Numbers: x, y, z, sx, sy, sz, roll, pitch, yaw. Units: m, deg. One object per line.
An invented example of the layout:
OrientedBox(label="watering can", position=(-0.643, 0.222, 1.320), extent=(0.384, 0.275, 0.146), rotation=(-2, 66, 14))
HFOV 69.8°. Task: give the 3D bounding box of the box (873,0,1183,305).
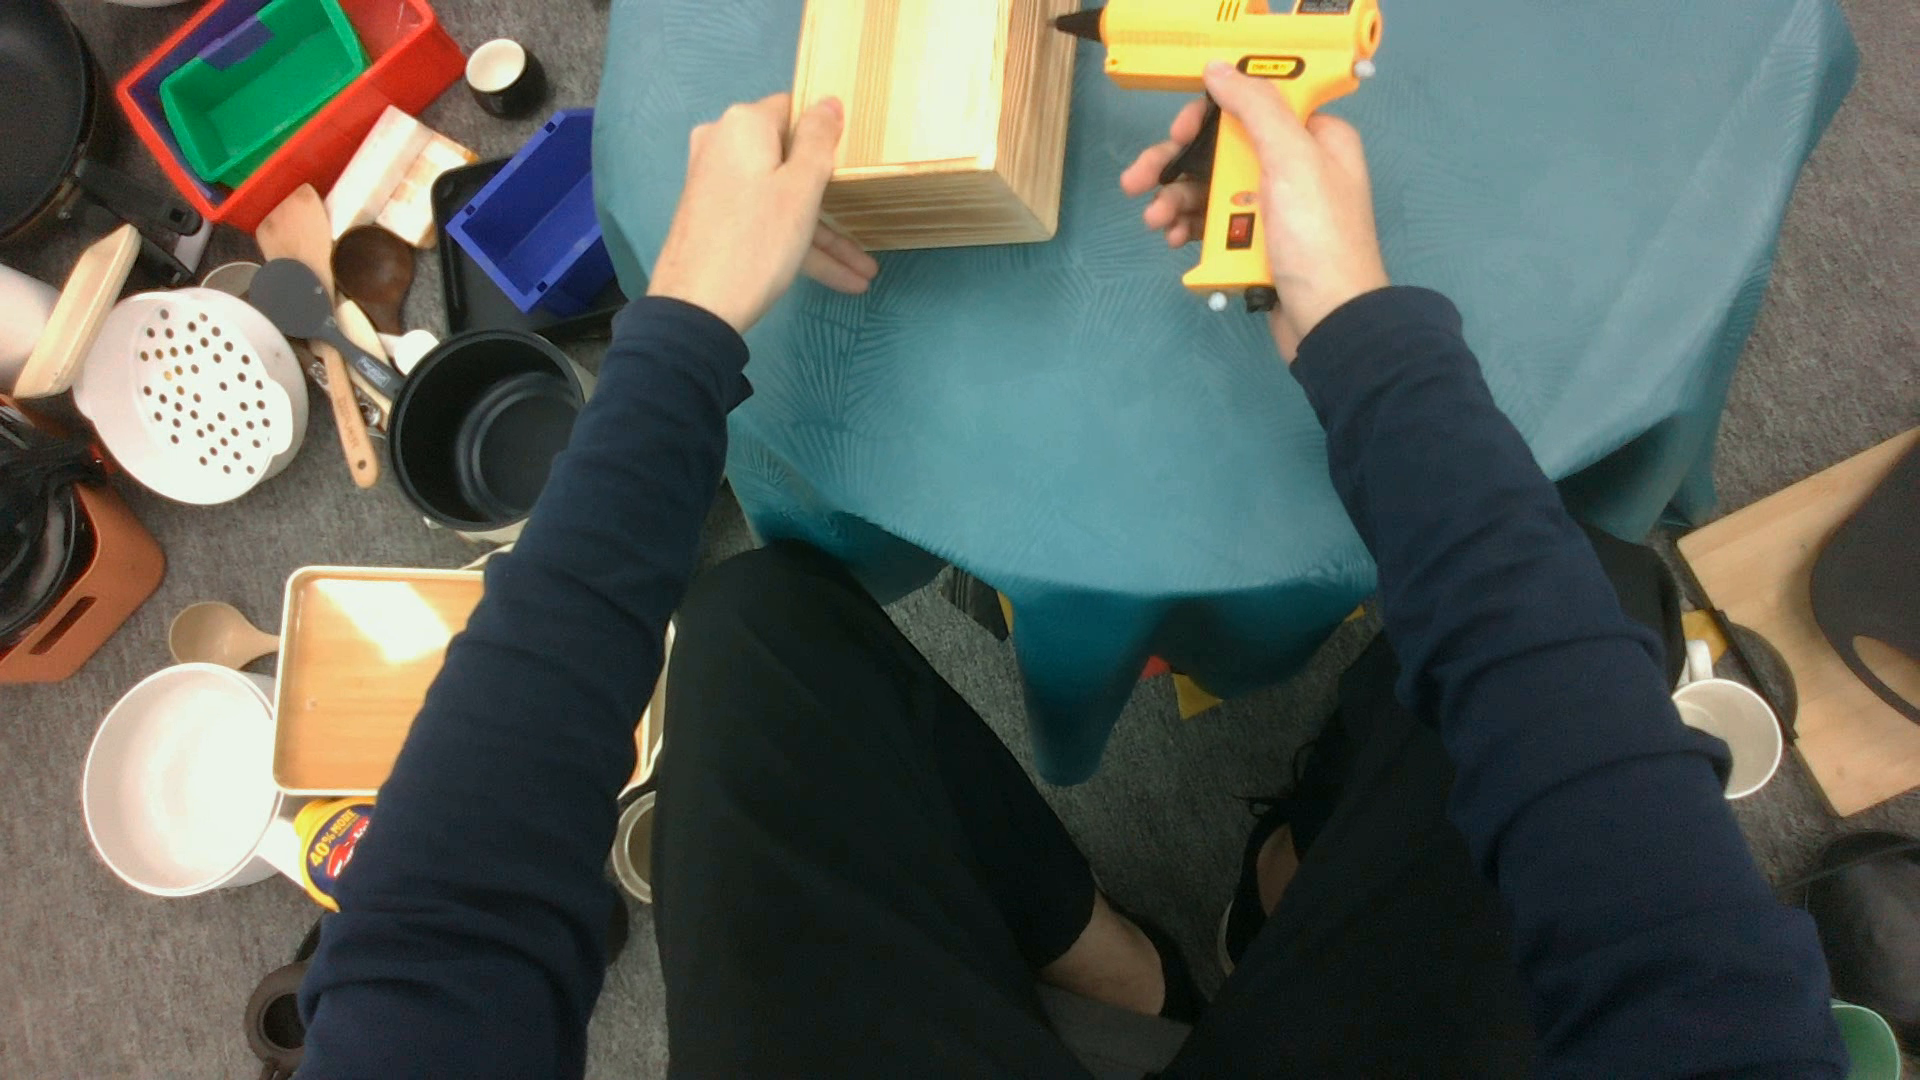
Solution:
OrientedBox(label="box", position=(0.040, -0.229, 0.677), extent=(0.107, 0.080, 0.212), rotation=(4, 77, 28))

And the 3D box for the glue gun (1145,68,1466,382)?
OrientedBox(label="glue gun", position=(0.132, -0.149, 0.611), extent=(0.151, 0.031, 0.133), rotation=(22, 95, 36))
